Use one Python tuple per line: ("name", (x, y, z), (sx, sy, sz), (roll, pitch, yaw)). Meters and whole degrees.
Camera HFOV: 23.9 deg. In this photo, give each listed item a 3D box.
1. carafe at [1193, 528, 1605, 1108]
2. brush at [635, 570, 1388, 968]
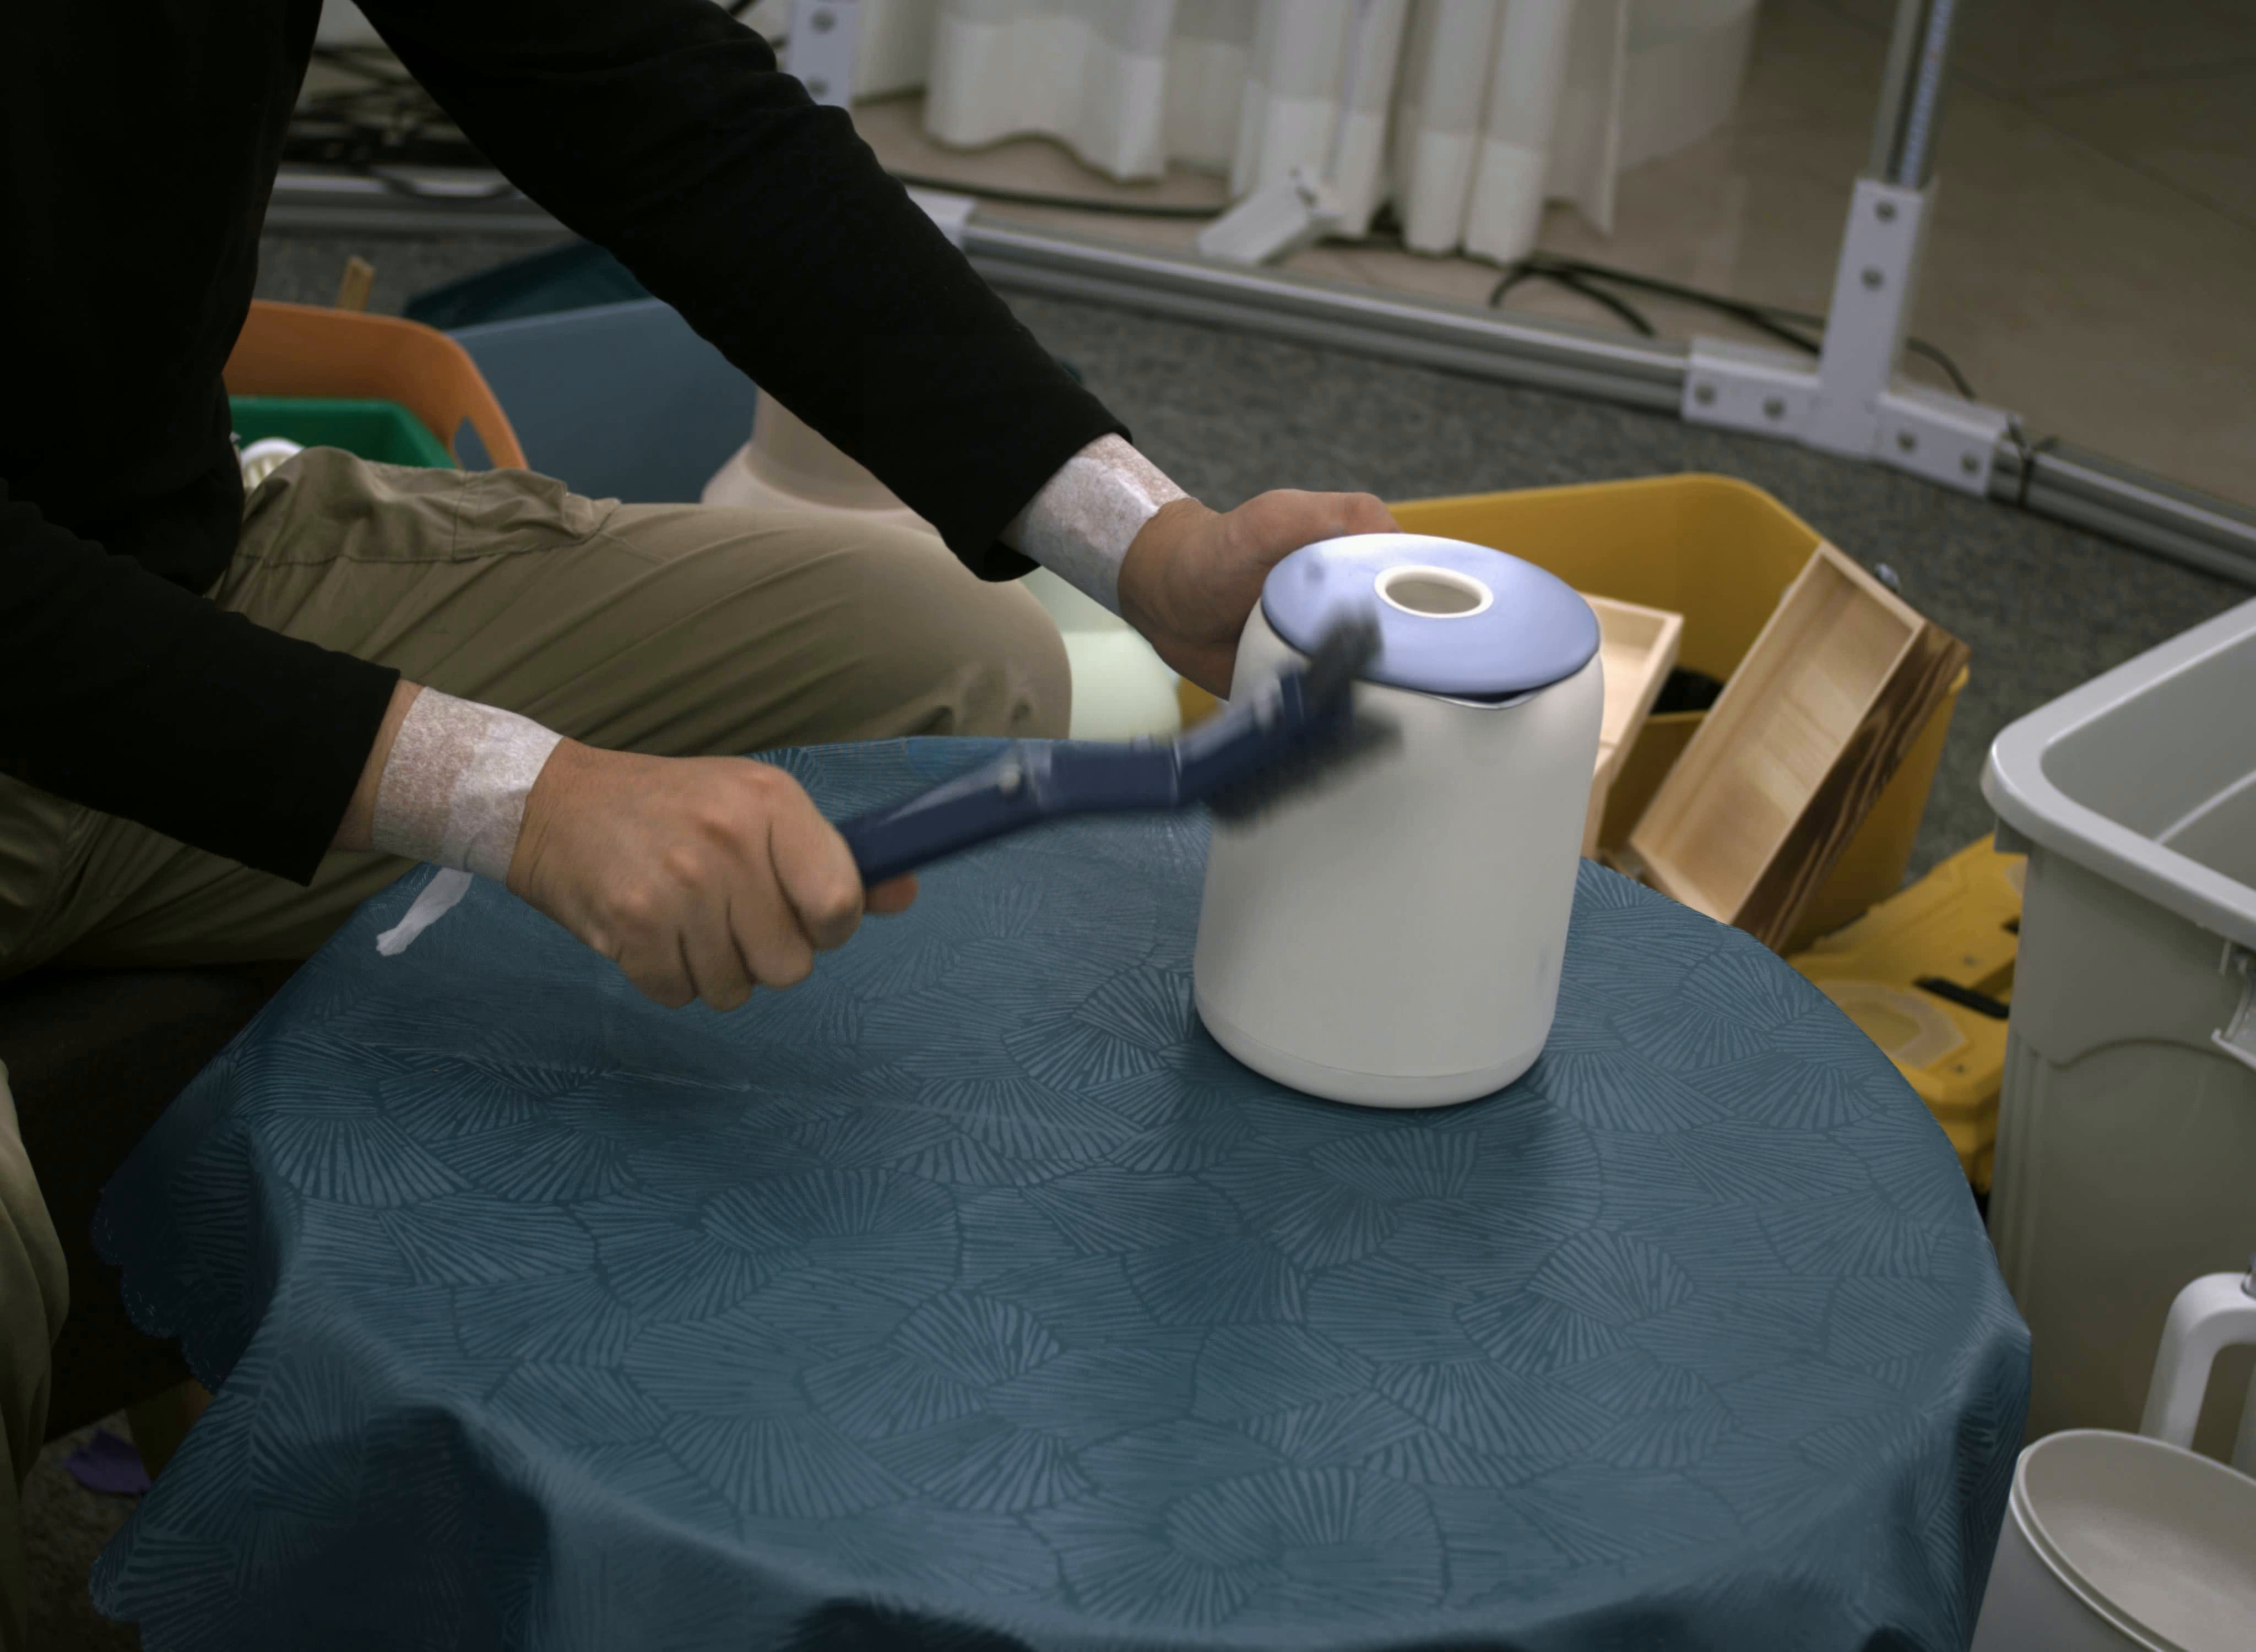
("carafe", (0.088, -0.015, 1.903), (0.131, 0.182, 0.193), (-3, 27, -20))
("brush", (-0.046, -0.018, 1.778), (0.273, 0.095, 0.034), (-18, 59, 9))
